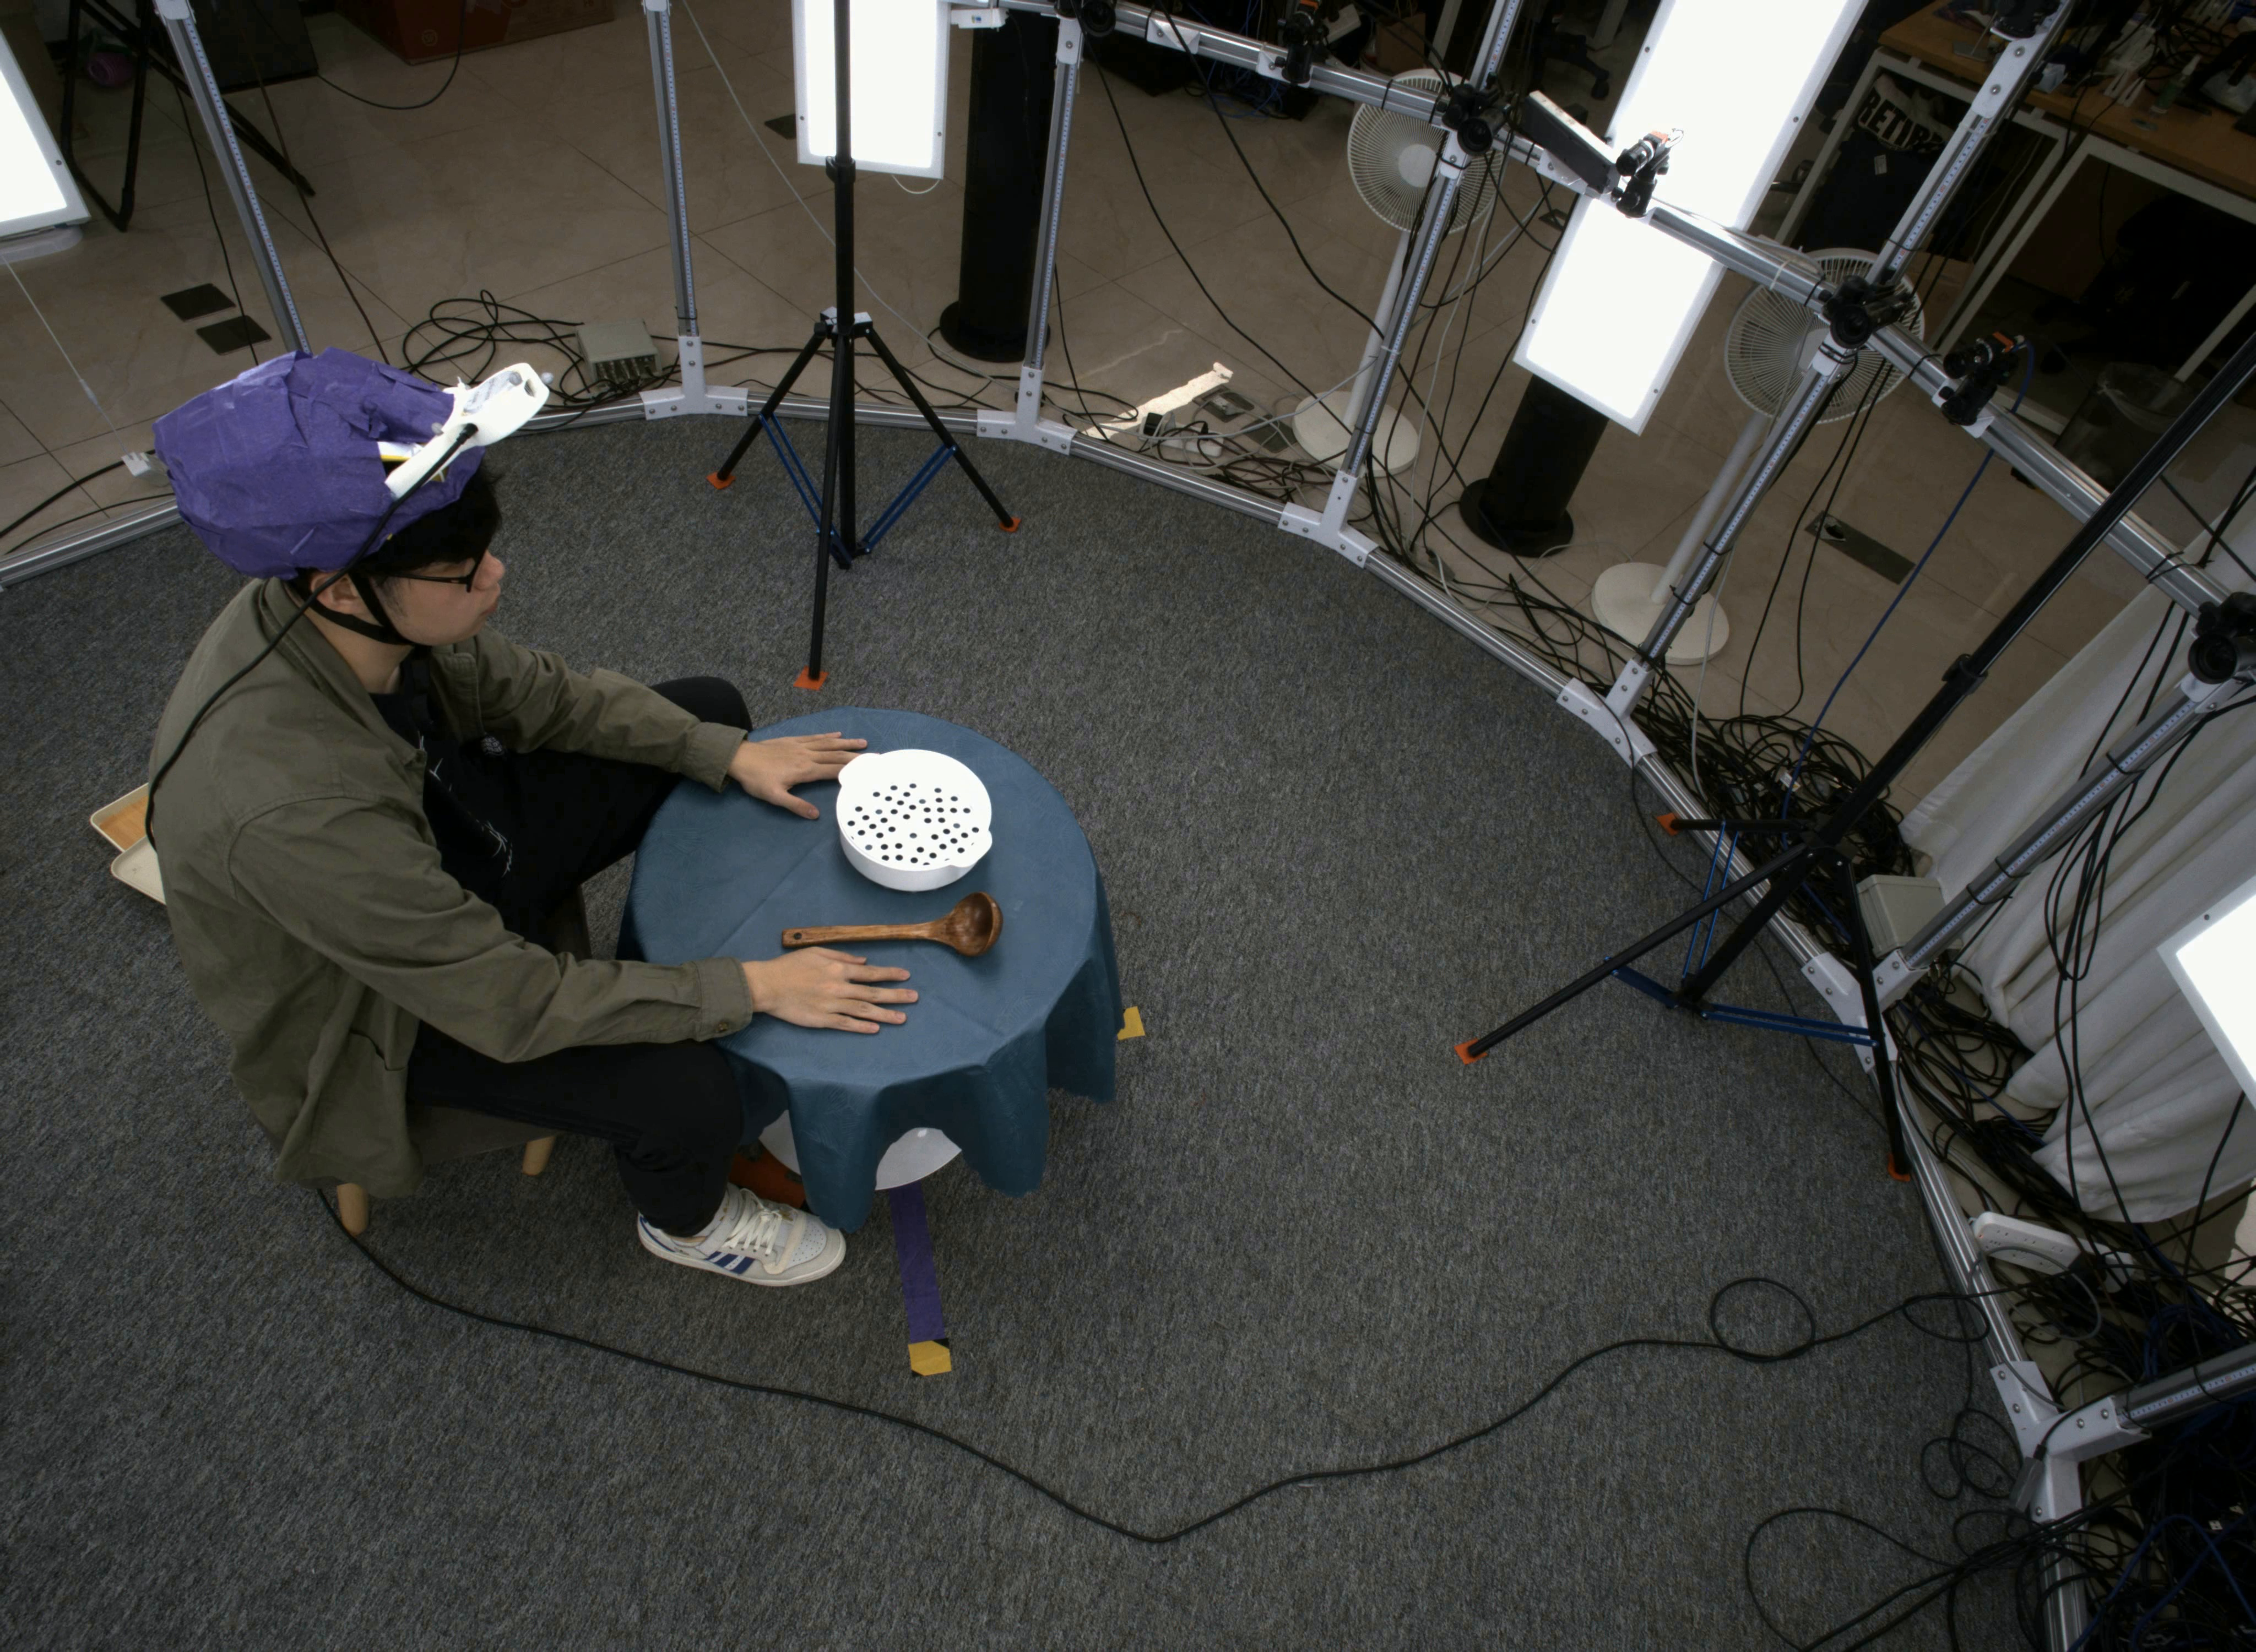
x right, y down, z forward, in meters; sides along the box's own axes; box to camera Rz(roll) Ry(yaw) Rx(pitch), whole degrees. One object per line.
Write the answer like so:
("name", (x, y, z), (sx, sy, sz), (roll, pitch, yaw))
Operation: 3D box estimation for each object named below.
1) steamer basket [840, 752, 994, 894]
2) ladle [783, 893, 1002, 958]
("steamer basket", (-0.281, -0.003, 1.734), (0.226, 0.071, 0.202), (34, 54, 14))
("ladle", (-0.295, 0.127, 1.630), (0.274, 0.077, 0.081), (-1, 68, -13))
